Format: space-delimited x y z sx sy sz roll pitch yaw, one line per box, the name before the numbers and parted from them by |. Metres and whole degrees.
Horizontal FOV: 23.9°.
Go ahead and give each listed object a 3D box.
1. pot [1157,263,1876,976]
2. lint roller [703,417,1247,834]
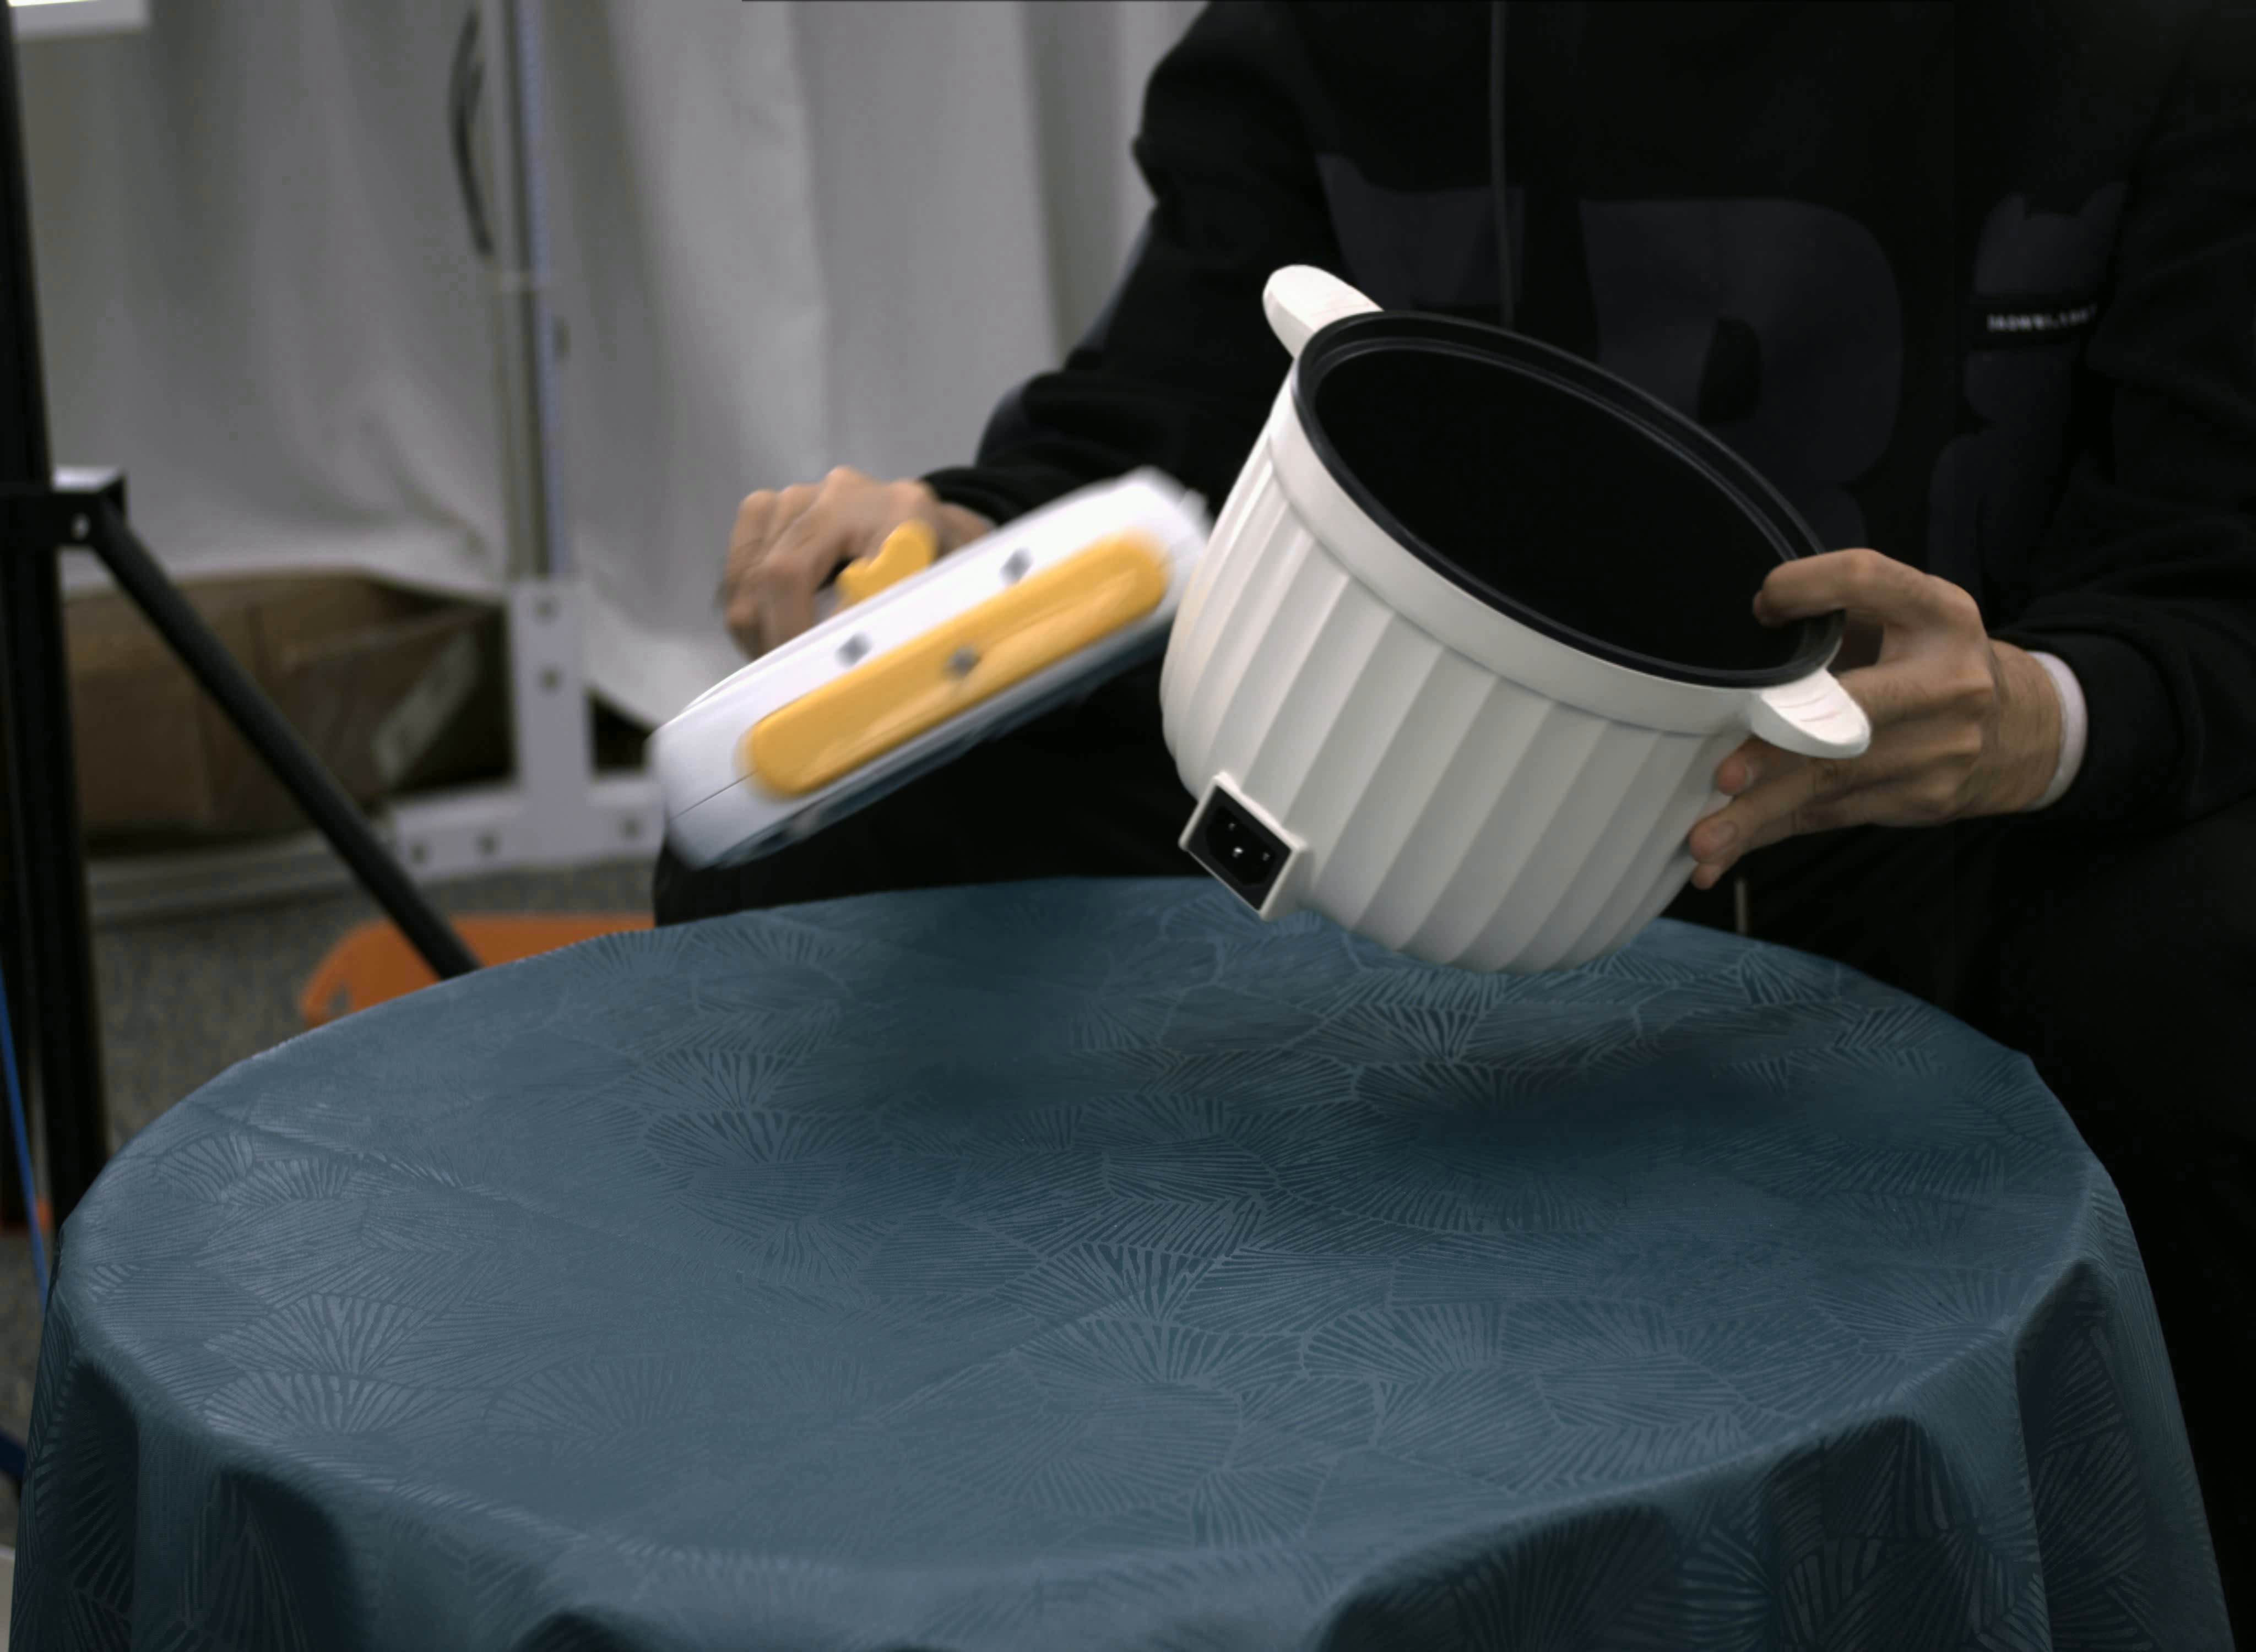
pot | 0.106 -0.051 1.604 0.244 0.143 0.186 43 36 23
lint roller | -0.068 -0.065 1.712 0.191 0.074 0.195 -36 9 -17
